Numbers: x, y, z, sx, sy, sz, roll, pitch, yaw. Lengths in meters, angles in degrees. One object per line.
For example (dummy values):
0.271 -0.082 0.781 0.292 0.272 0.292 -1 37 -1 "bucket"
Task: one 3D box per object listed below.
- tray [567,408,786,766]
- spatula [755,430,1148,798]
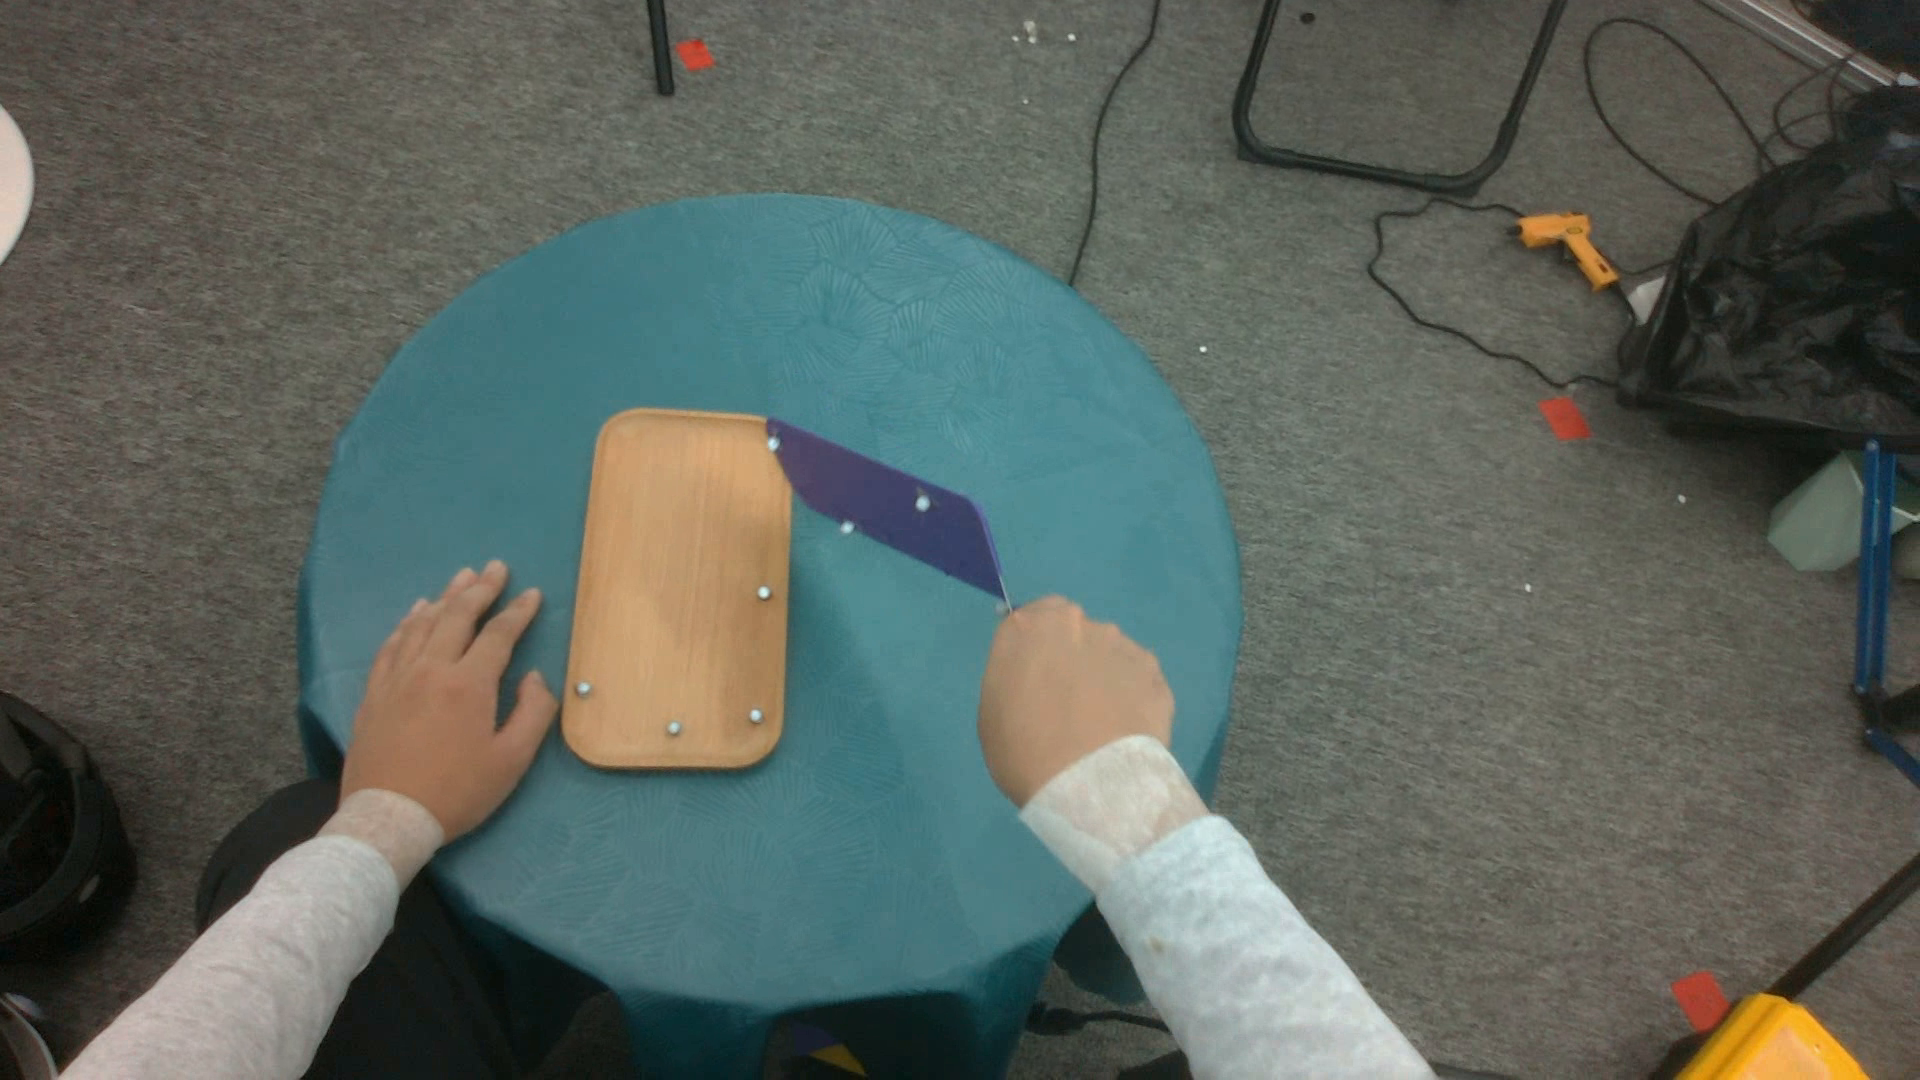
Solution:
-0.176 0.025 0.876 0.130 0.023 0.251 3 60 -11 "tray"
-0.020 0.029 0.736 0.087 0.075 0.360 -28 39 -5 "spatula"
